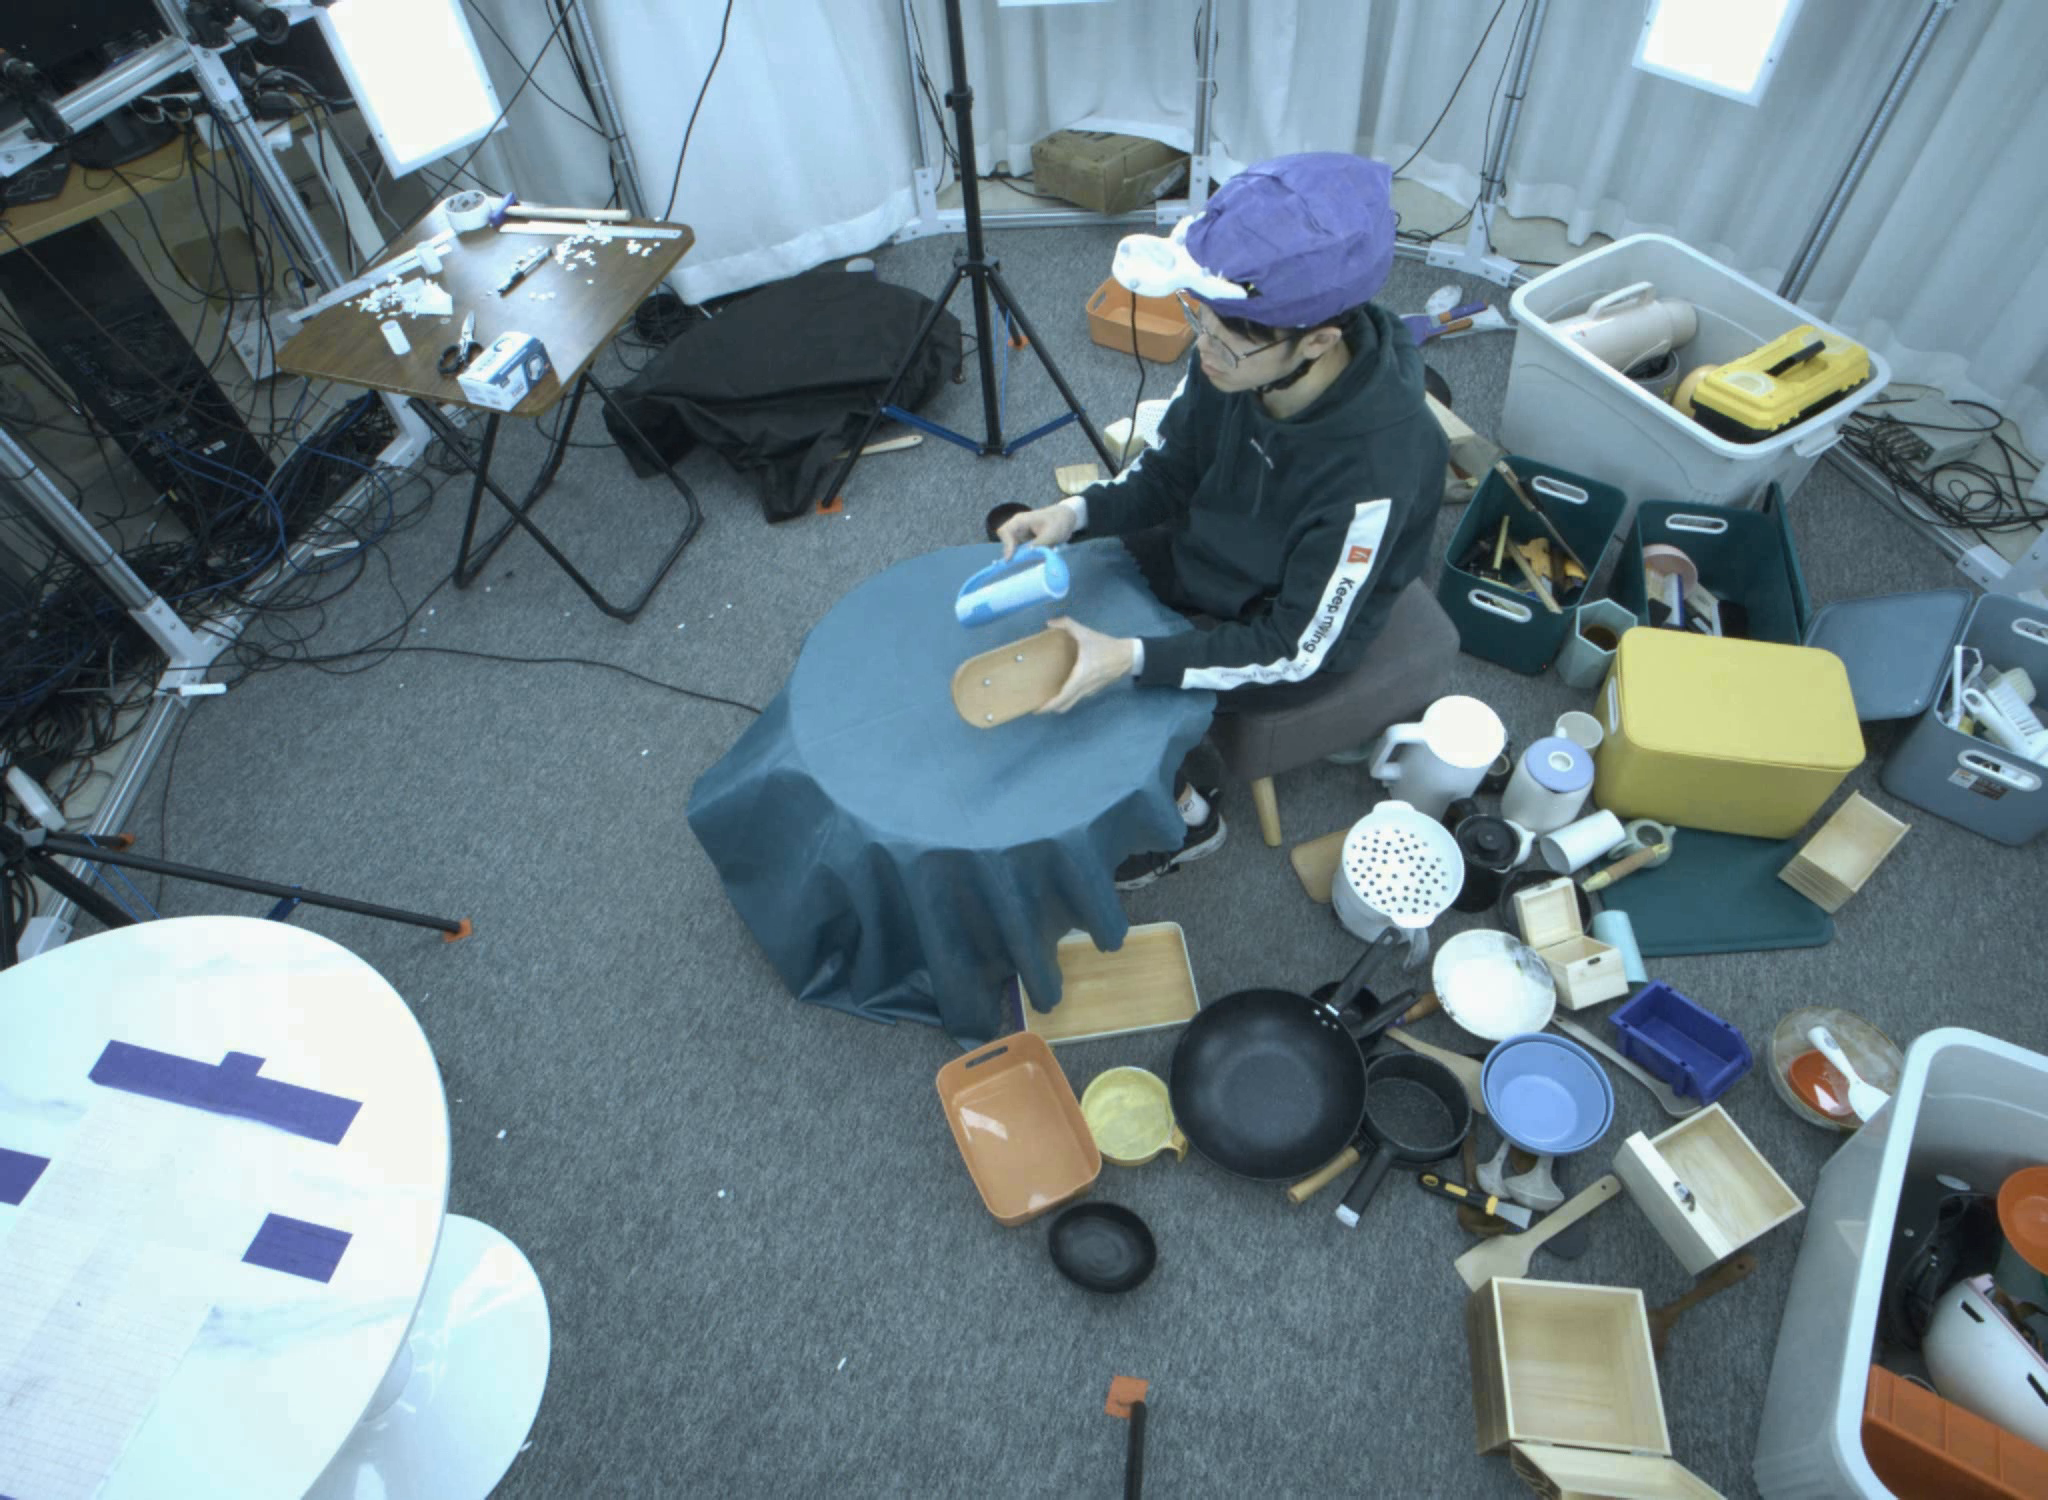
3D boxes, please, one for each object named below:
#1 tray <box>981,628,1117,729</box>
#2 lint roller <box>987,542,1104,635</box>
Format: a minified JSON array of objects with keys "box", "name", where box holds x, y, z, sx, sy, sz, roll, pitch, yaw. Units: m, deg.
[{"box":[0.037,-0.102,1.732,0.234,0.102,0.020,-24,17,-32],"name":"tray"},{"box":[0.049,-0.258,1.801,0.225,0.069,0.180,-16,39,46],"name":"lint roller"}]
